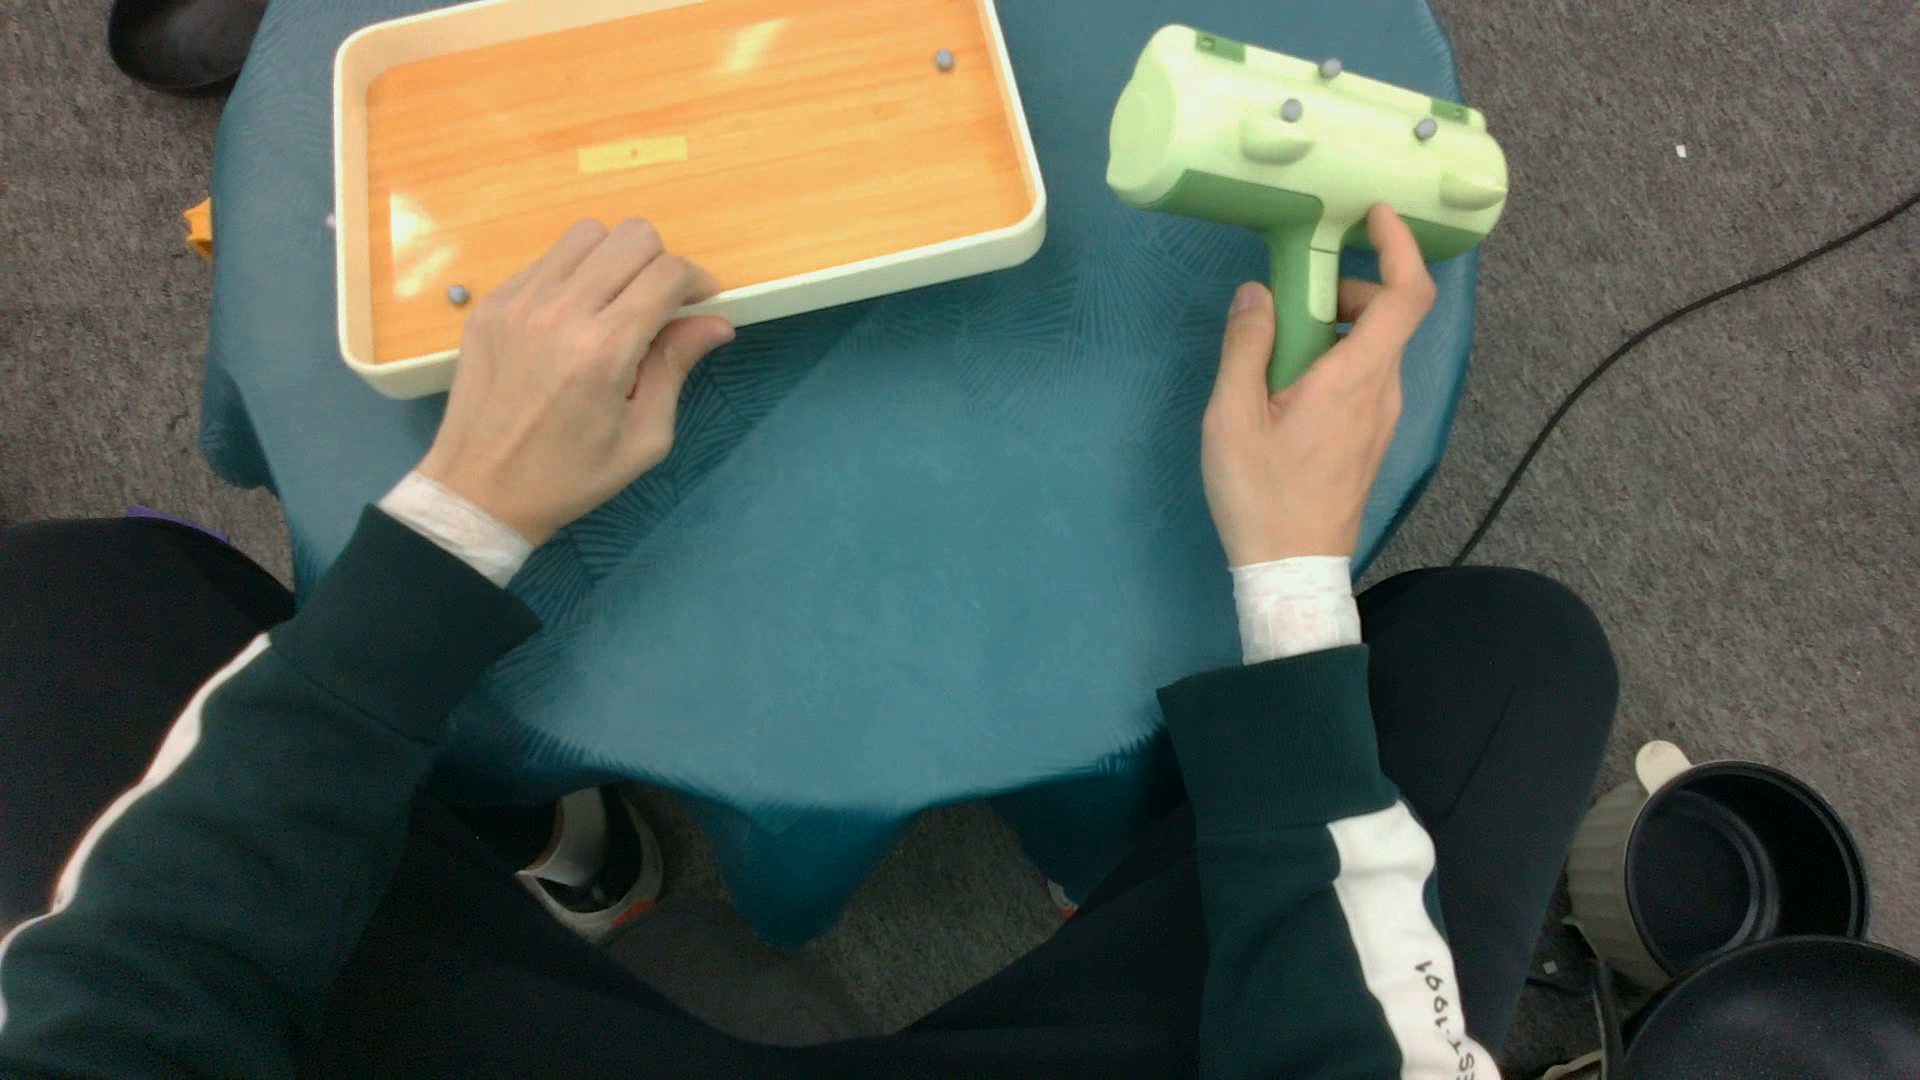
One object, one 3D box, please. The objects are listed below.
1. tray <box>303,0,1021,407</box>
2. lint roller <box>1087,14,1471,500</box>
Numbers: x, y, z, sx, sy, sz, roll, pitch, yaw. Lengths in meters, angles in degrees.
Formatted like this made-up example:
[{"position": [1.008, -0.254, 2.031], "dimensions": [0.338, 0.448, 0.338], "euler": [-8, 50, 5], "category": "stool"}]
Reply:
[{"position": [-0.137, -0.178, 0.611], "dimensions": [0.300, 0.027, 0.192], "euler": [-14, 67, 0], "category": "tray"}, {"position": [0.145, -0.110, 0.576], "dimensions": [0.199, 0.082, 0.183], "euler": [-1, 88, -38], "category": "lint roller"}]
